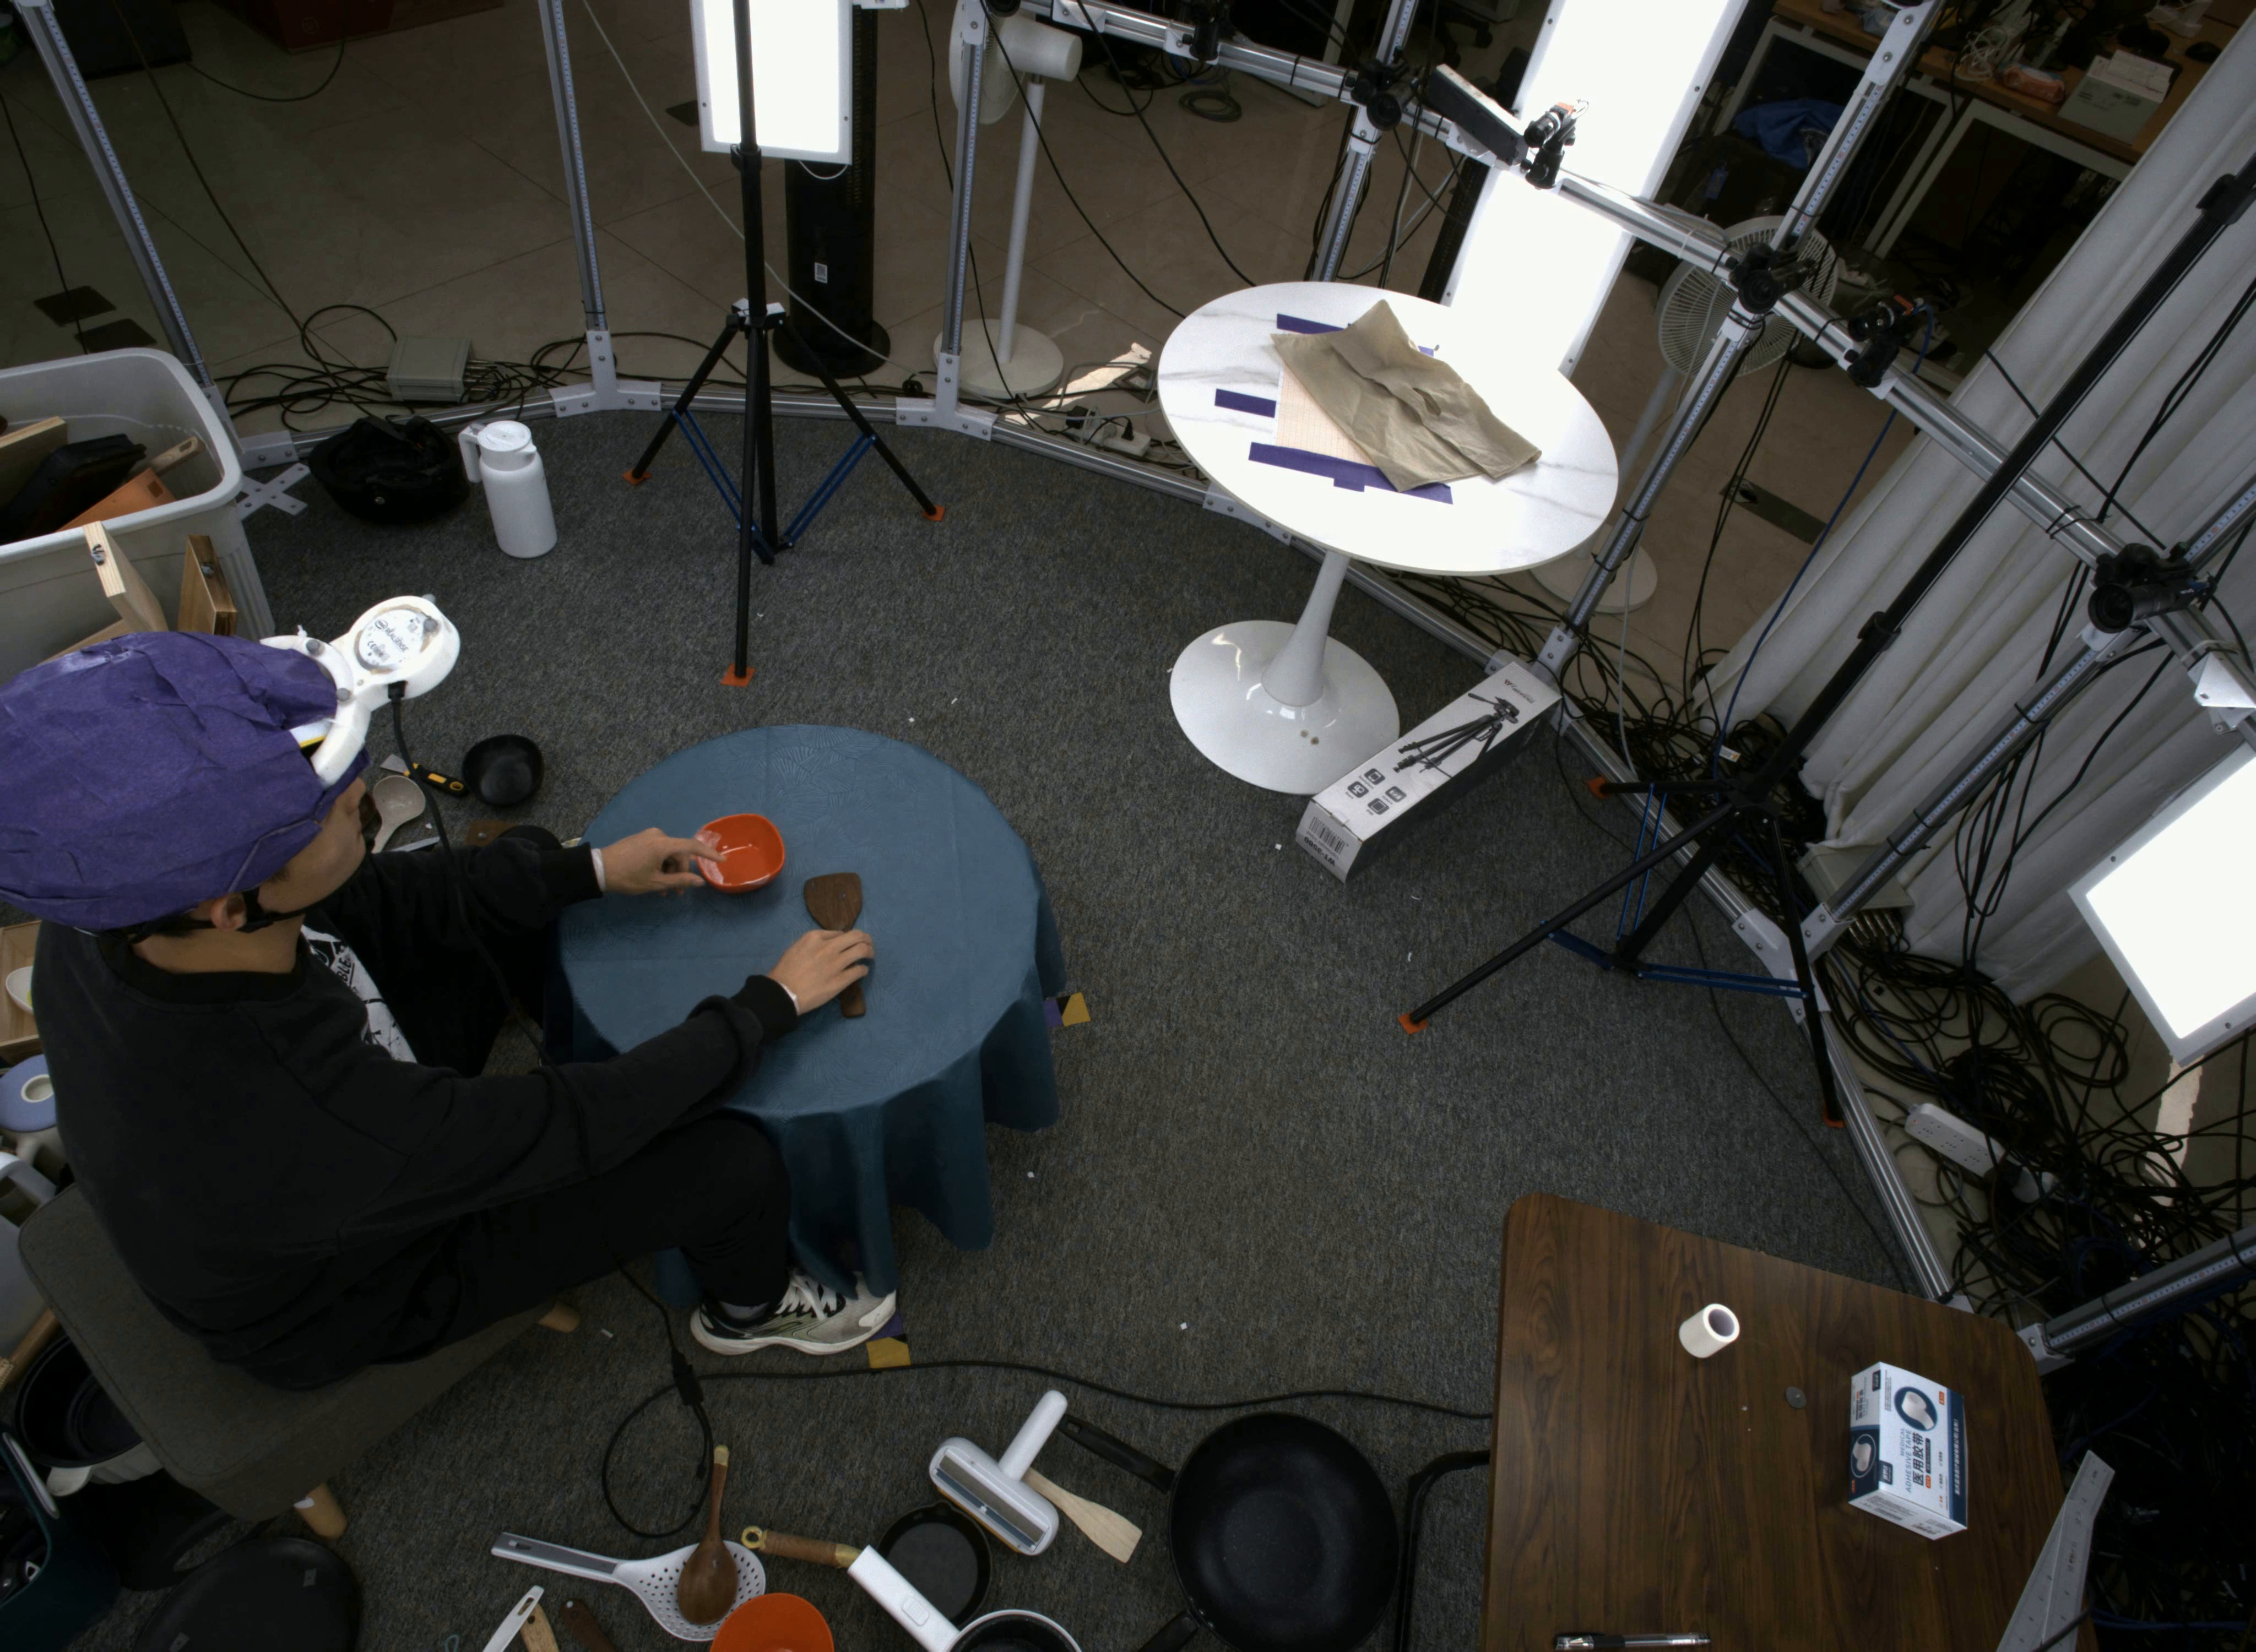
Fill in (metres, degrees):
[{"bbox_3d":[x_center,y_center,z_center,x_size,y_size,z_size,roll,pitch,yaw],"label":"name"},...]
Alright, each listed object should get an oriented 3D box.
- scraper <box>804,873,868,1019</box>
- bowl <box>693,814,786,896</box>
[{"bbox_3d":[-0.357,0.147,1.631,0.076,0.011,0.206,-7,57,-18],"label":"scraper"},{"bbox_3d":[-0.493,0.044,1.647,0.119,0.052,0.117,8,52,-9],"label":"bowl"}]
